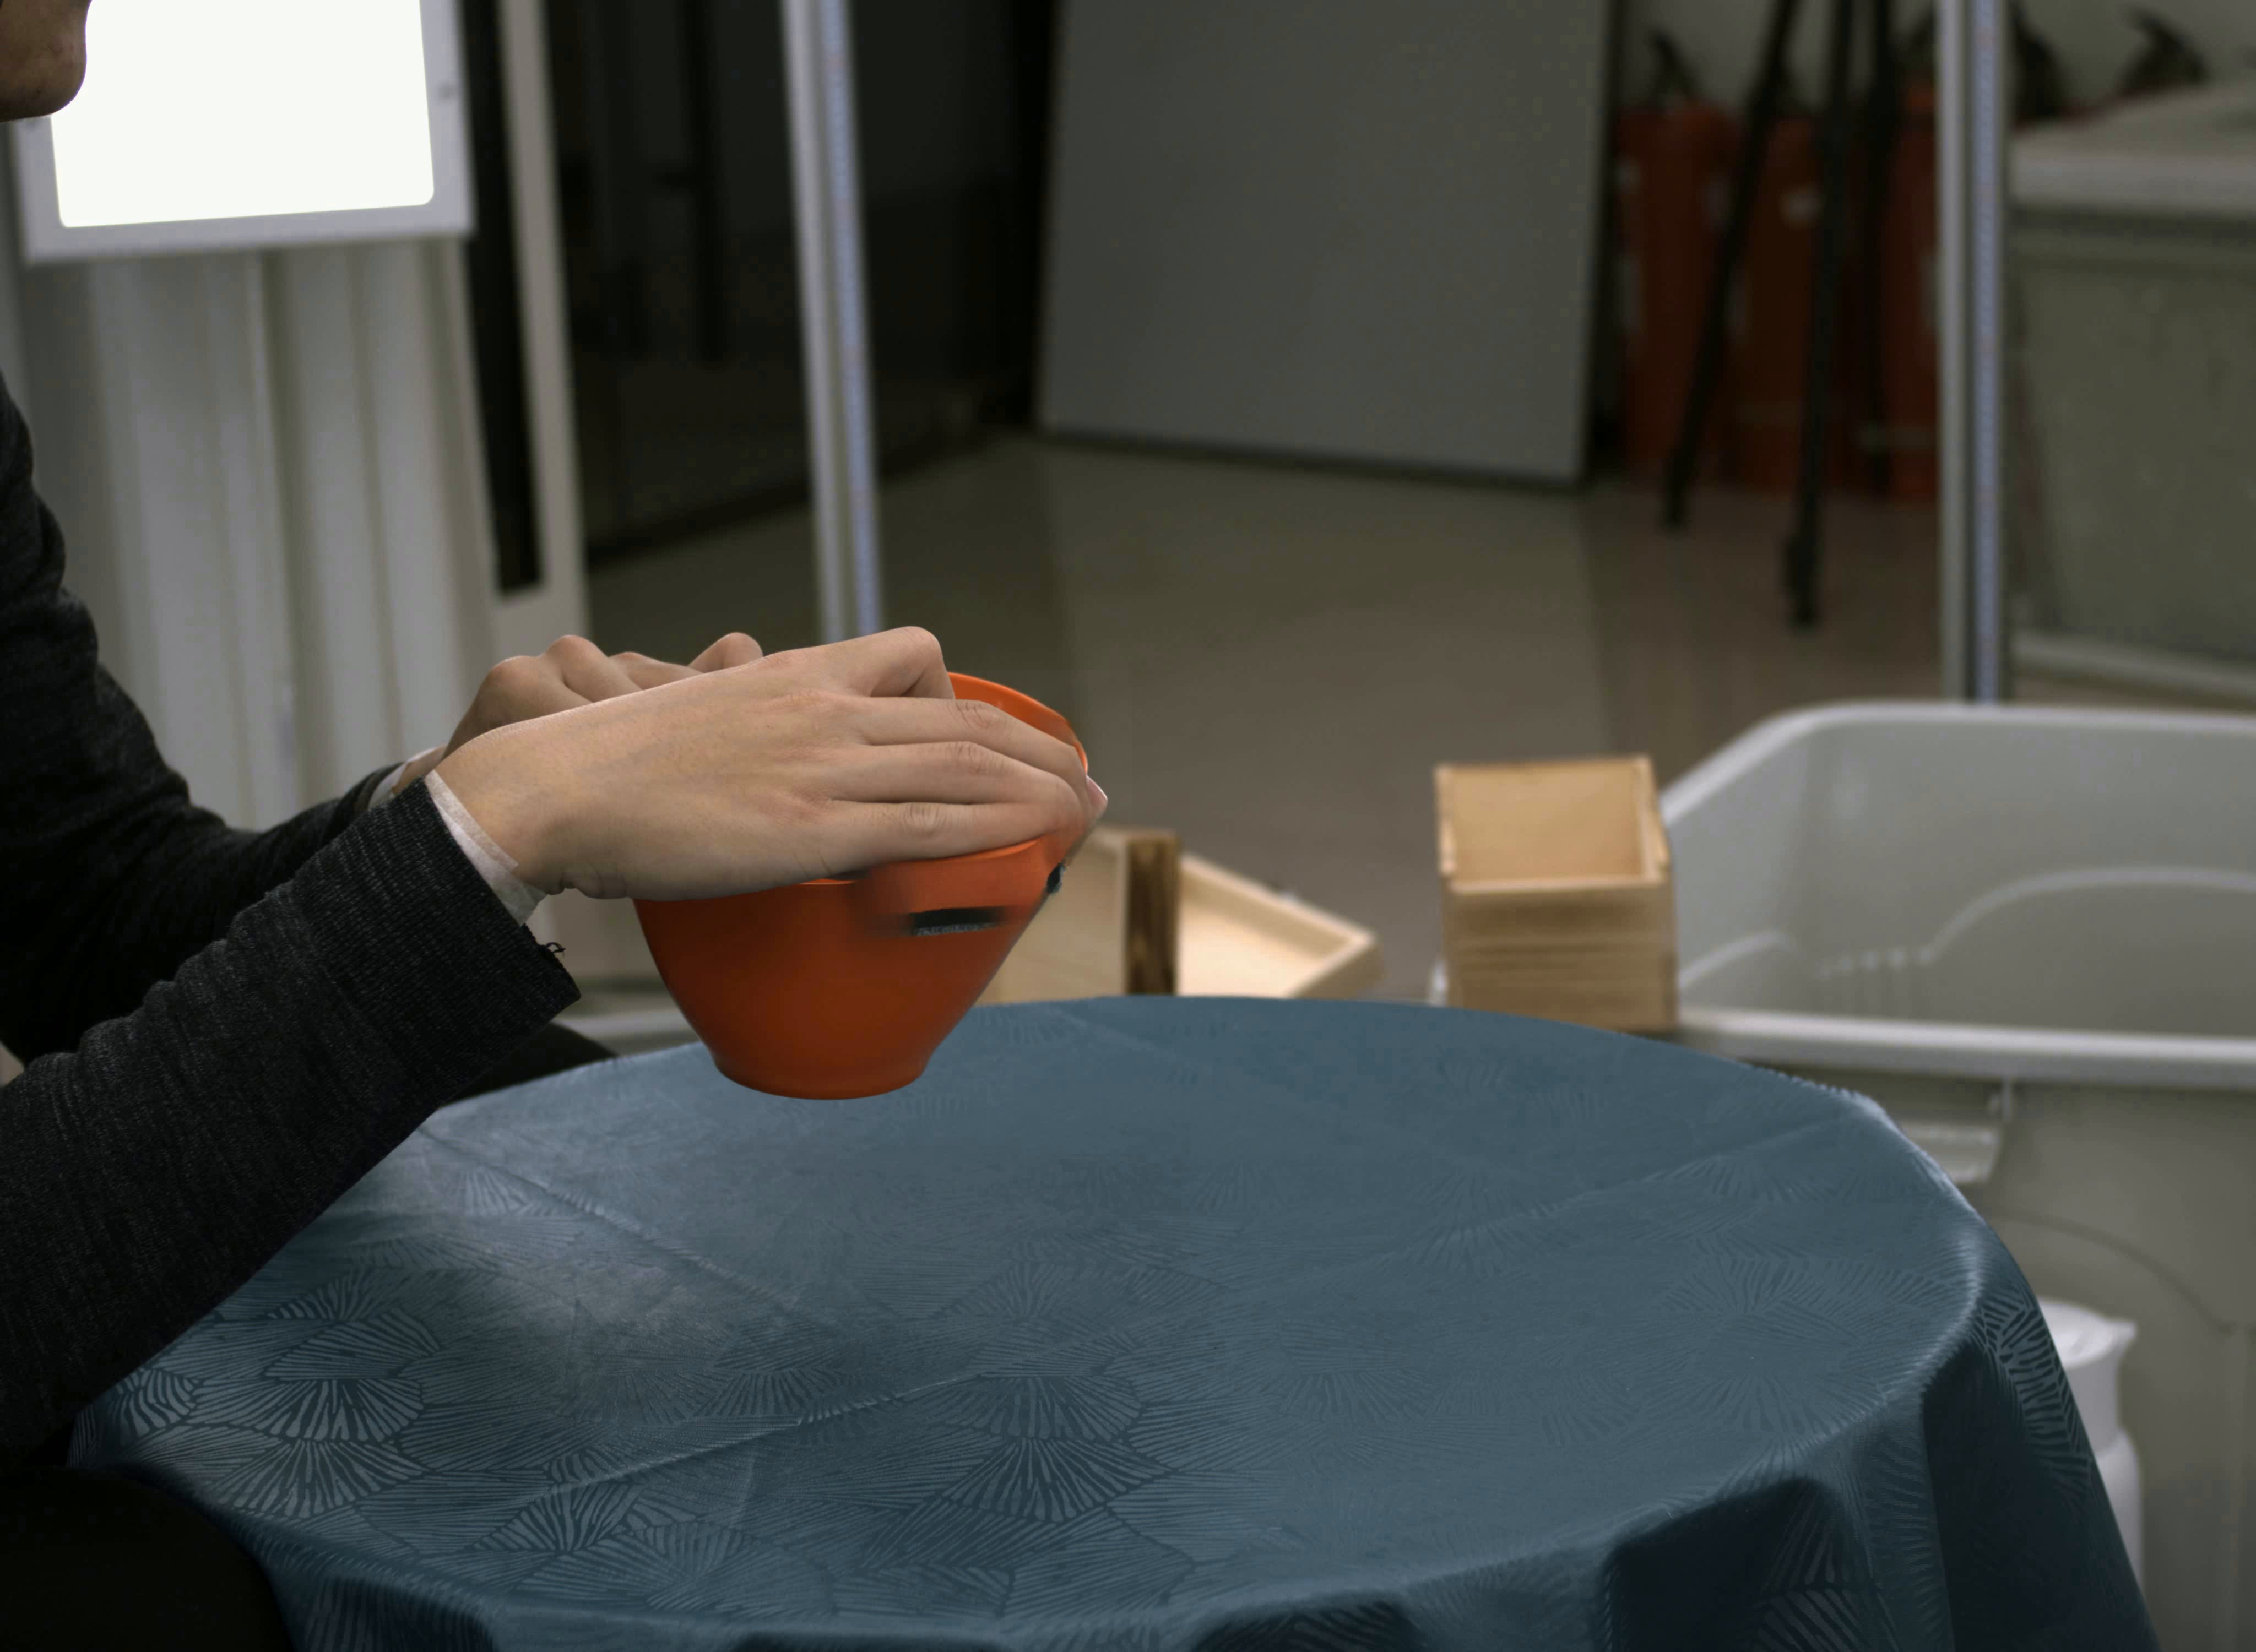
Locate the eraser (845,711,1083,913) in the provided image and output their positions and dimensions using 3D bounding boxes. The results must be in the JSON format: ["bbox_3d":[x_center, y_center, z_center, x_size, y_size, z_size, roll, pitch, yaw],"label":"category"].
[{"bbox_3d":[-0.047,-0.005,1.576,0.058,0.023,0.108,-7,18,9],"label":"eraser"}]

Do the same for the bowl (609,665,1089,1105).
[{"bbox_3d":[-0.086,0.022,1.659,0.146,0.106,0.148,2,19,-1],"label":"bowl"}]
